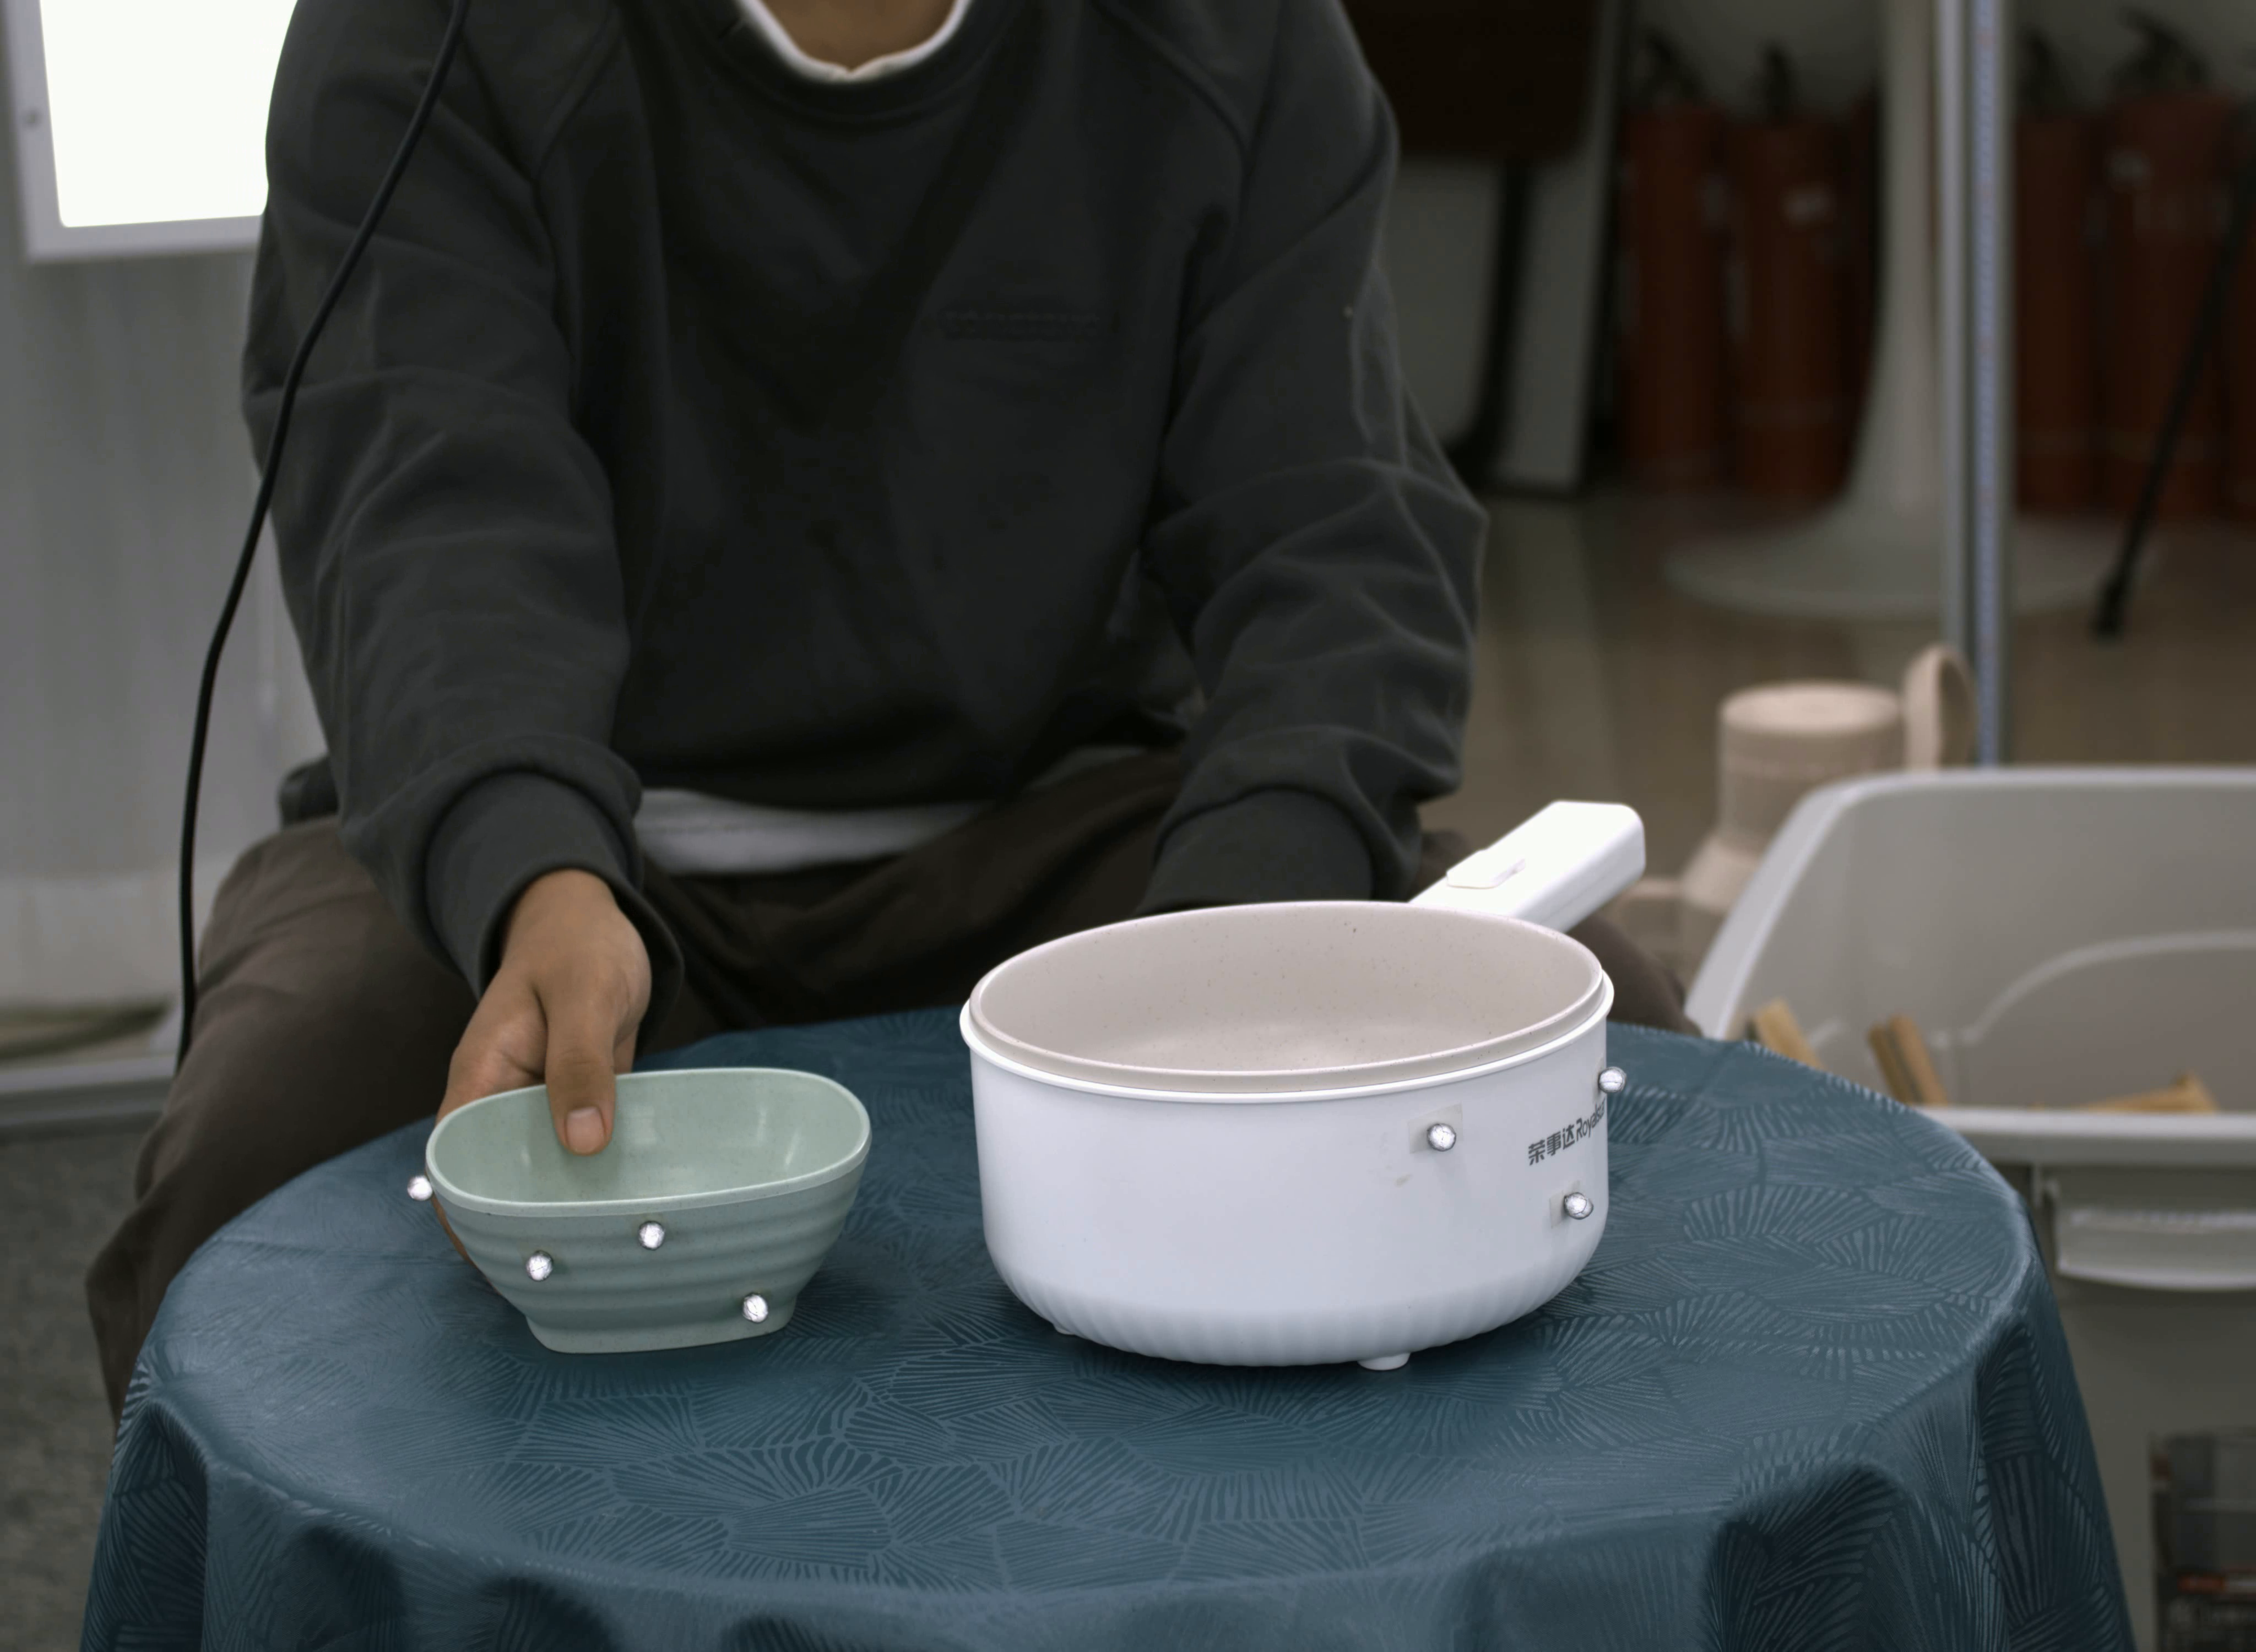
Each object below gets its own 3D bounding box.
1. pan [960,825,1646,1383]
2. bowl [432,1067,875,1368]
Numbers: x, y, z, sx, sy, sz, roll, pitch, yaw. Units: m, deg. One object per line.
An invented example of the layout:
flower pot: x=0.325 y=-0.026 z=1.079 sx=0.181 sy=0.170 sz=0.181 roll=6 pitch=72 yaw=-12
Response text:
pan: x=0.085 y=0.084 z=1.717 sx=0.202 sy=0.103 sz=0.350 roll=0 pitch=12 yaw=27
bowl: x=-0.145 y=0.125 z=1.683 sx=0.149 sy=0.059 sz=0.152 roll=-4 pitch=15 yaw=0
